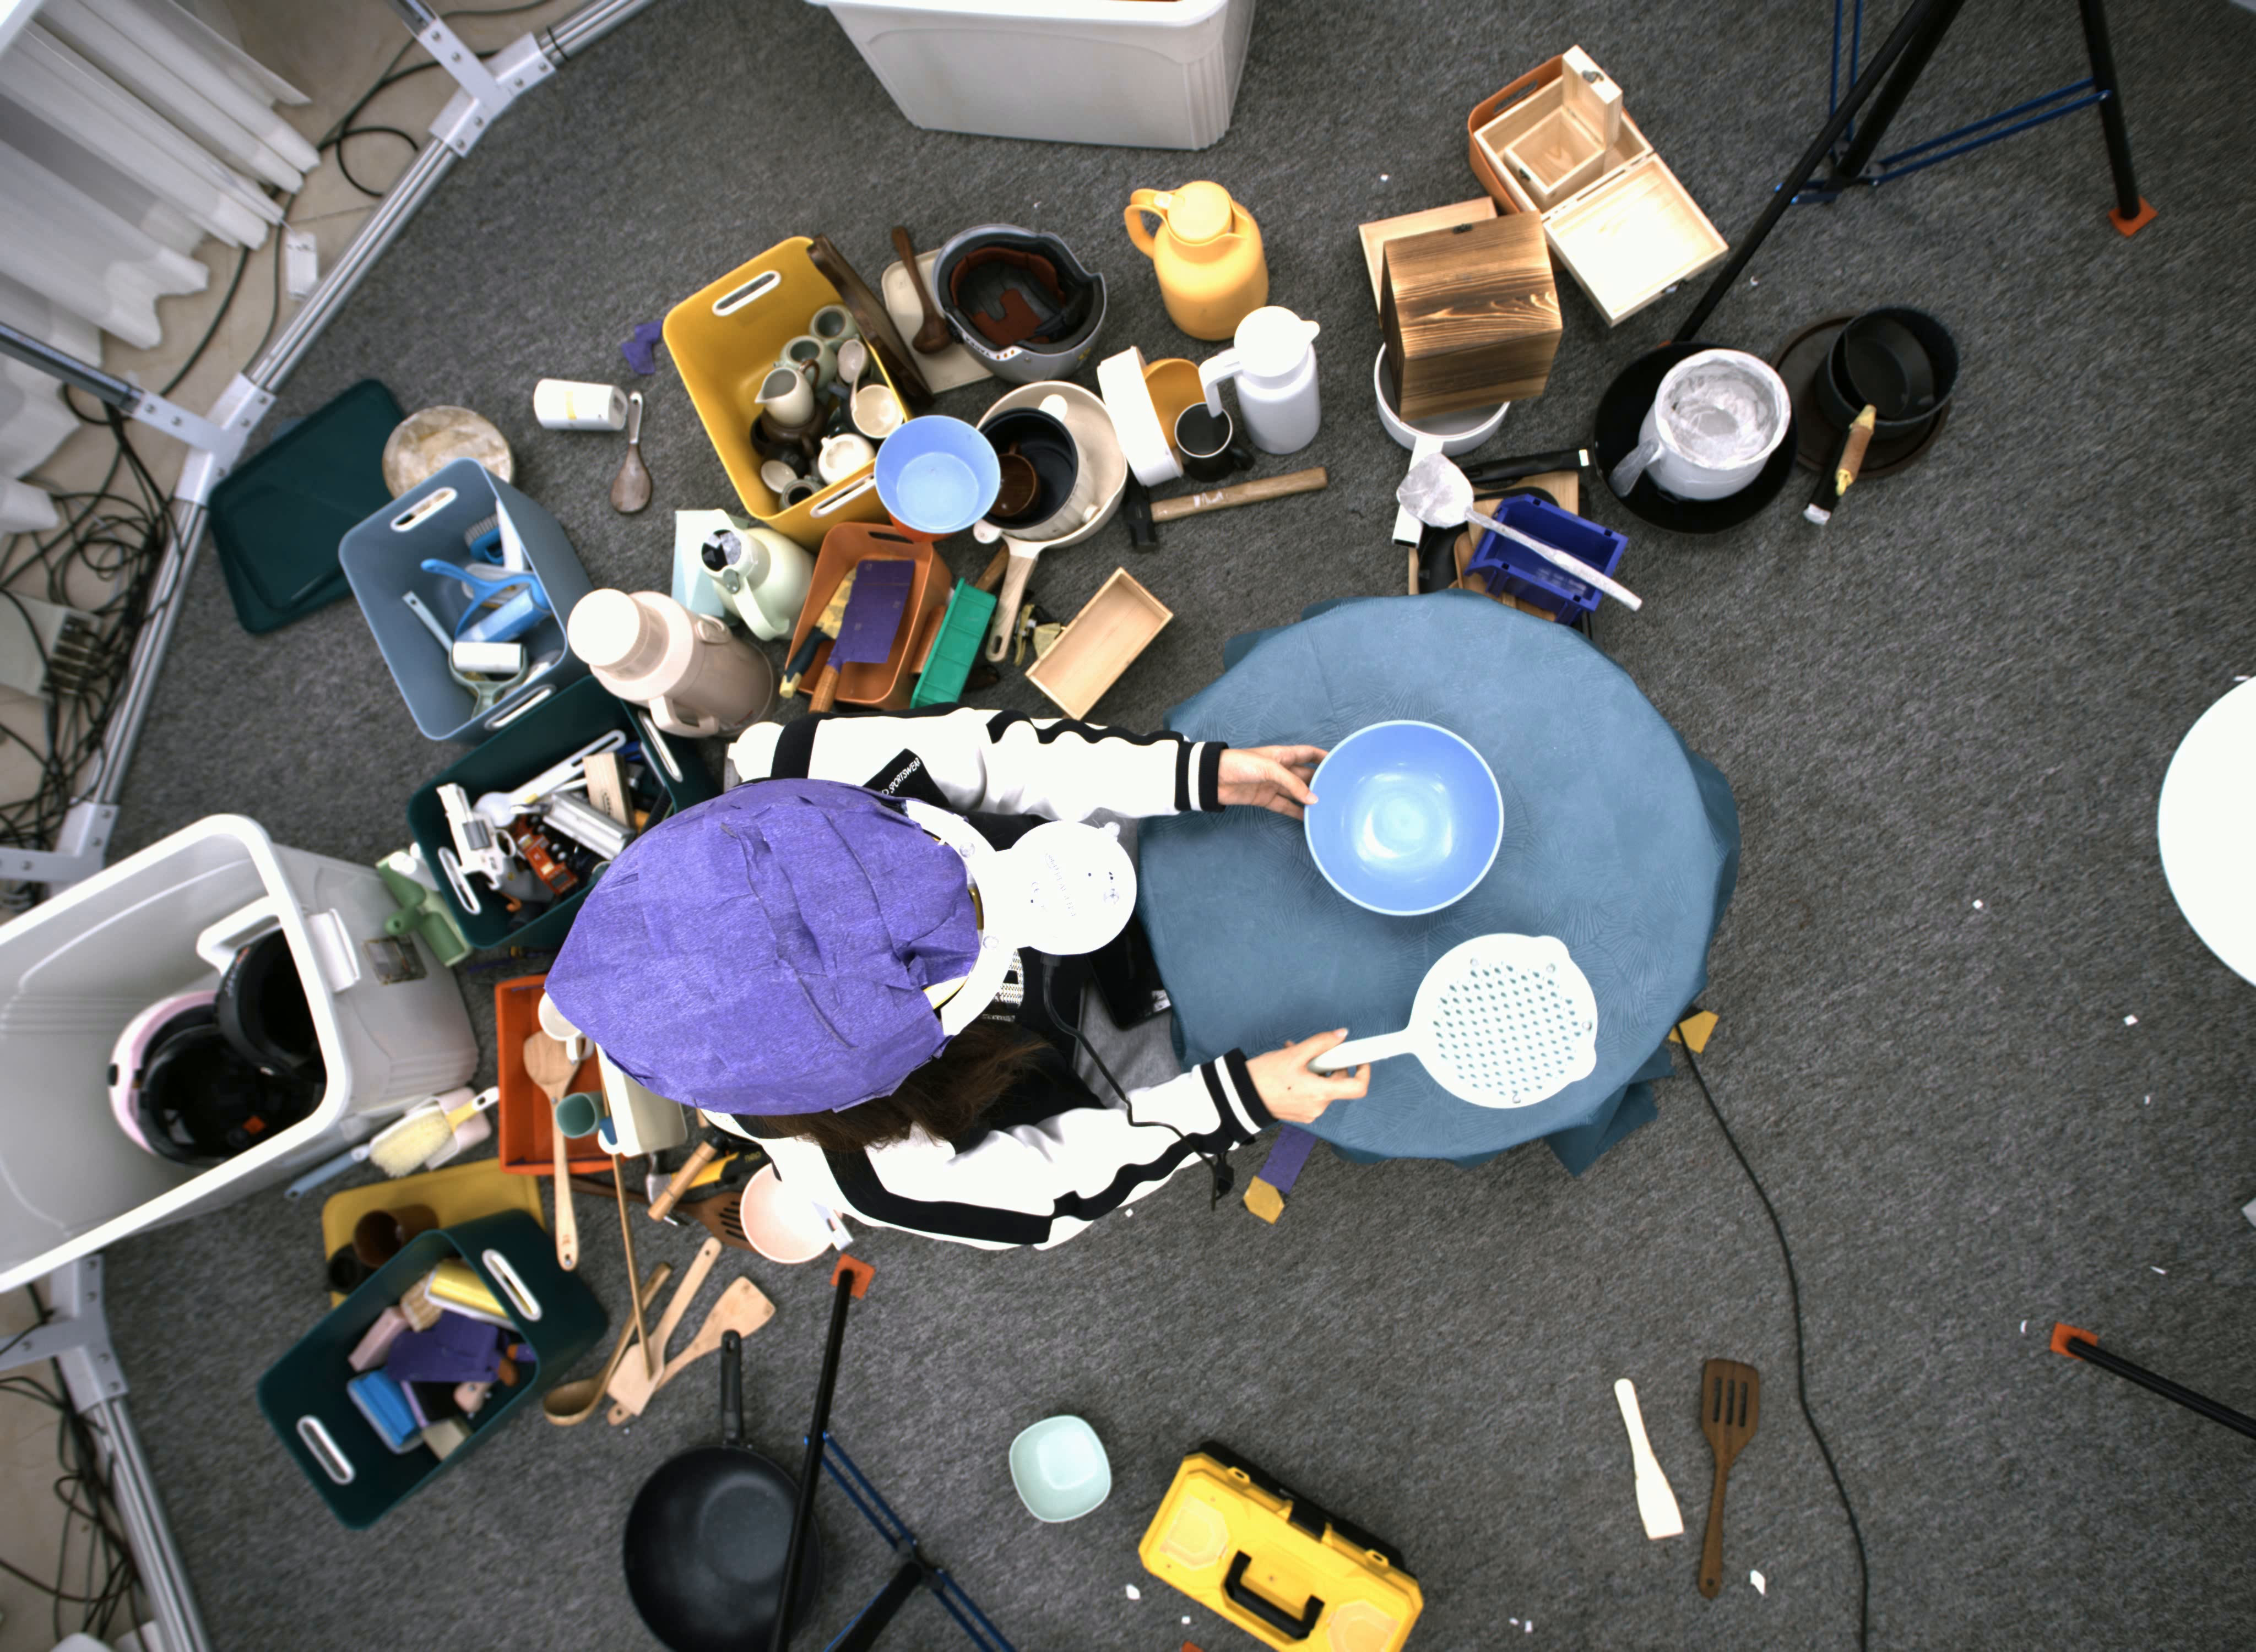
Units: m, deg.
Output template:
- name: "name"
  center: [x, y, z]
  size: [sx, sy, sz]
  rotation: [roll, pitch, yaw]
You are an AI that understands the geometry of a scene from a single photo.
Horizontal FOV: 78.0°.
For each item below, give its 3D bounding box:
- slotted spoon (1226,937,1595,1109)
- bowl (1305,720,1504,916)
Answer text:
- name: "slotted spoon"
  center: [0.266, 0.212, 1.341]
  size: [0.361, 0.076, 0.165]
  rotation: [-11, 61, 10]
- name: "bowl"
  center: [0.282, -0.005, 1.414]
  size: [0.197, 0.095, 0.195]
  rotation: [-1, 87, 10]
